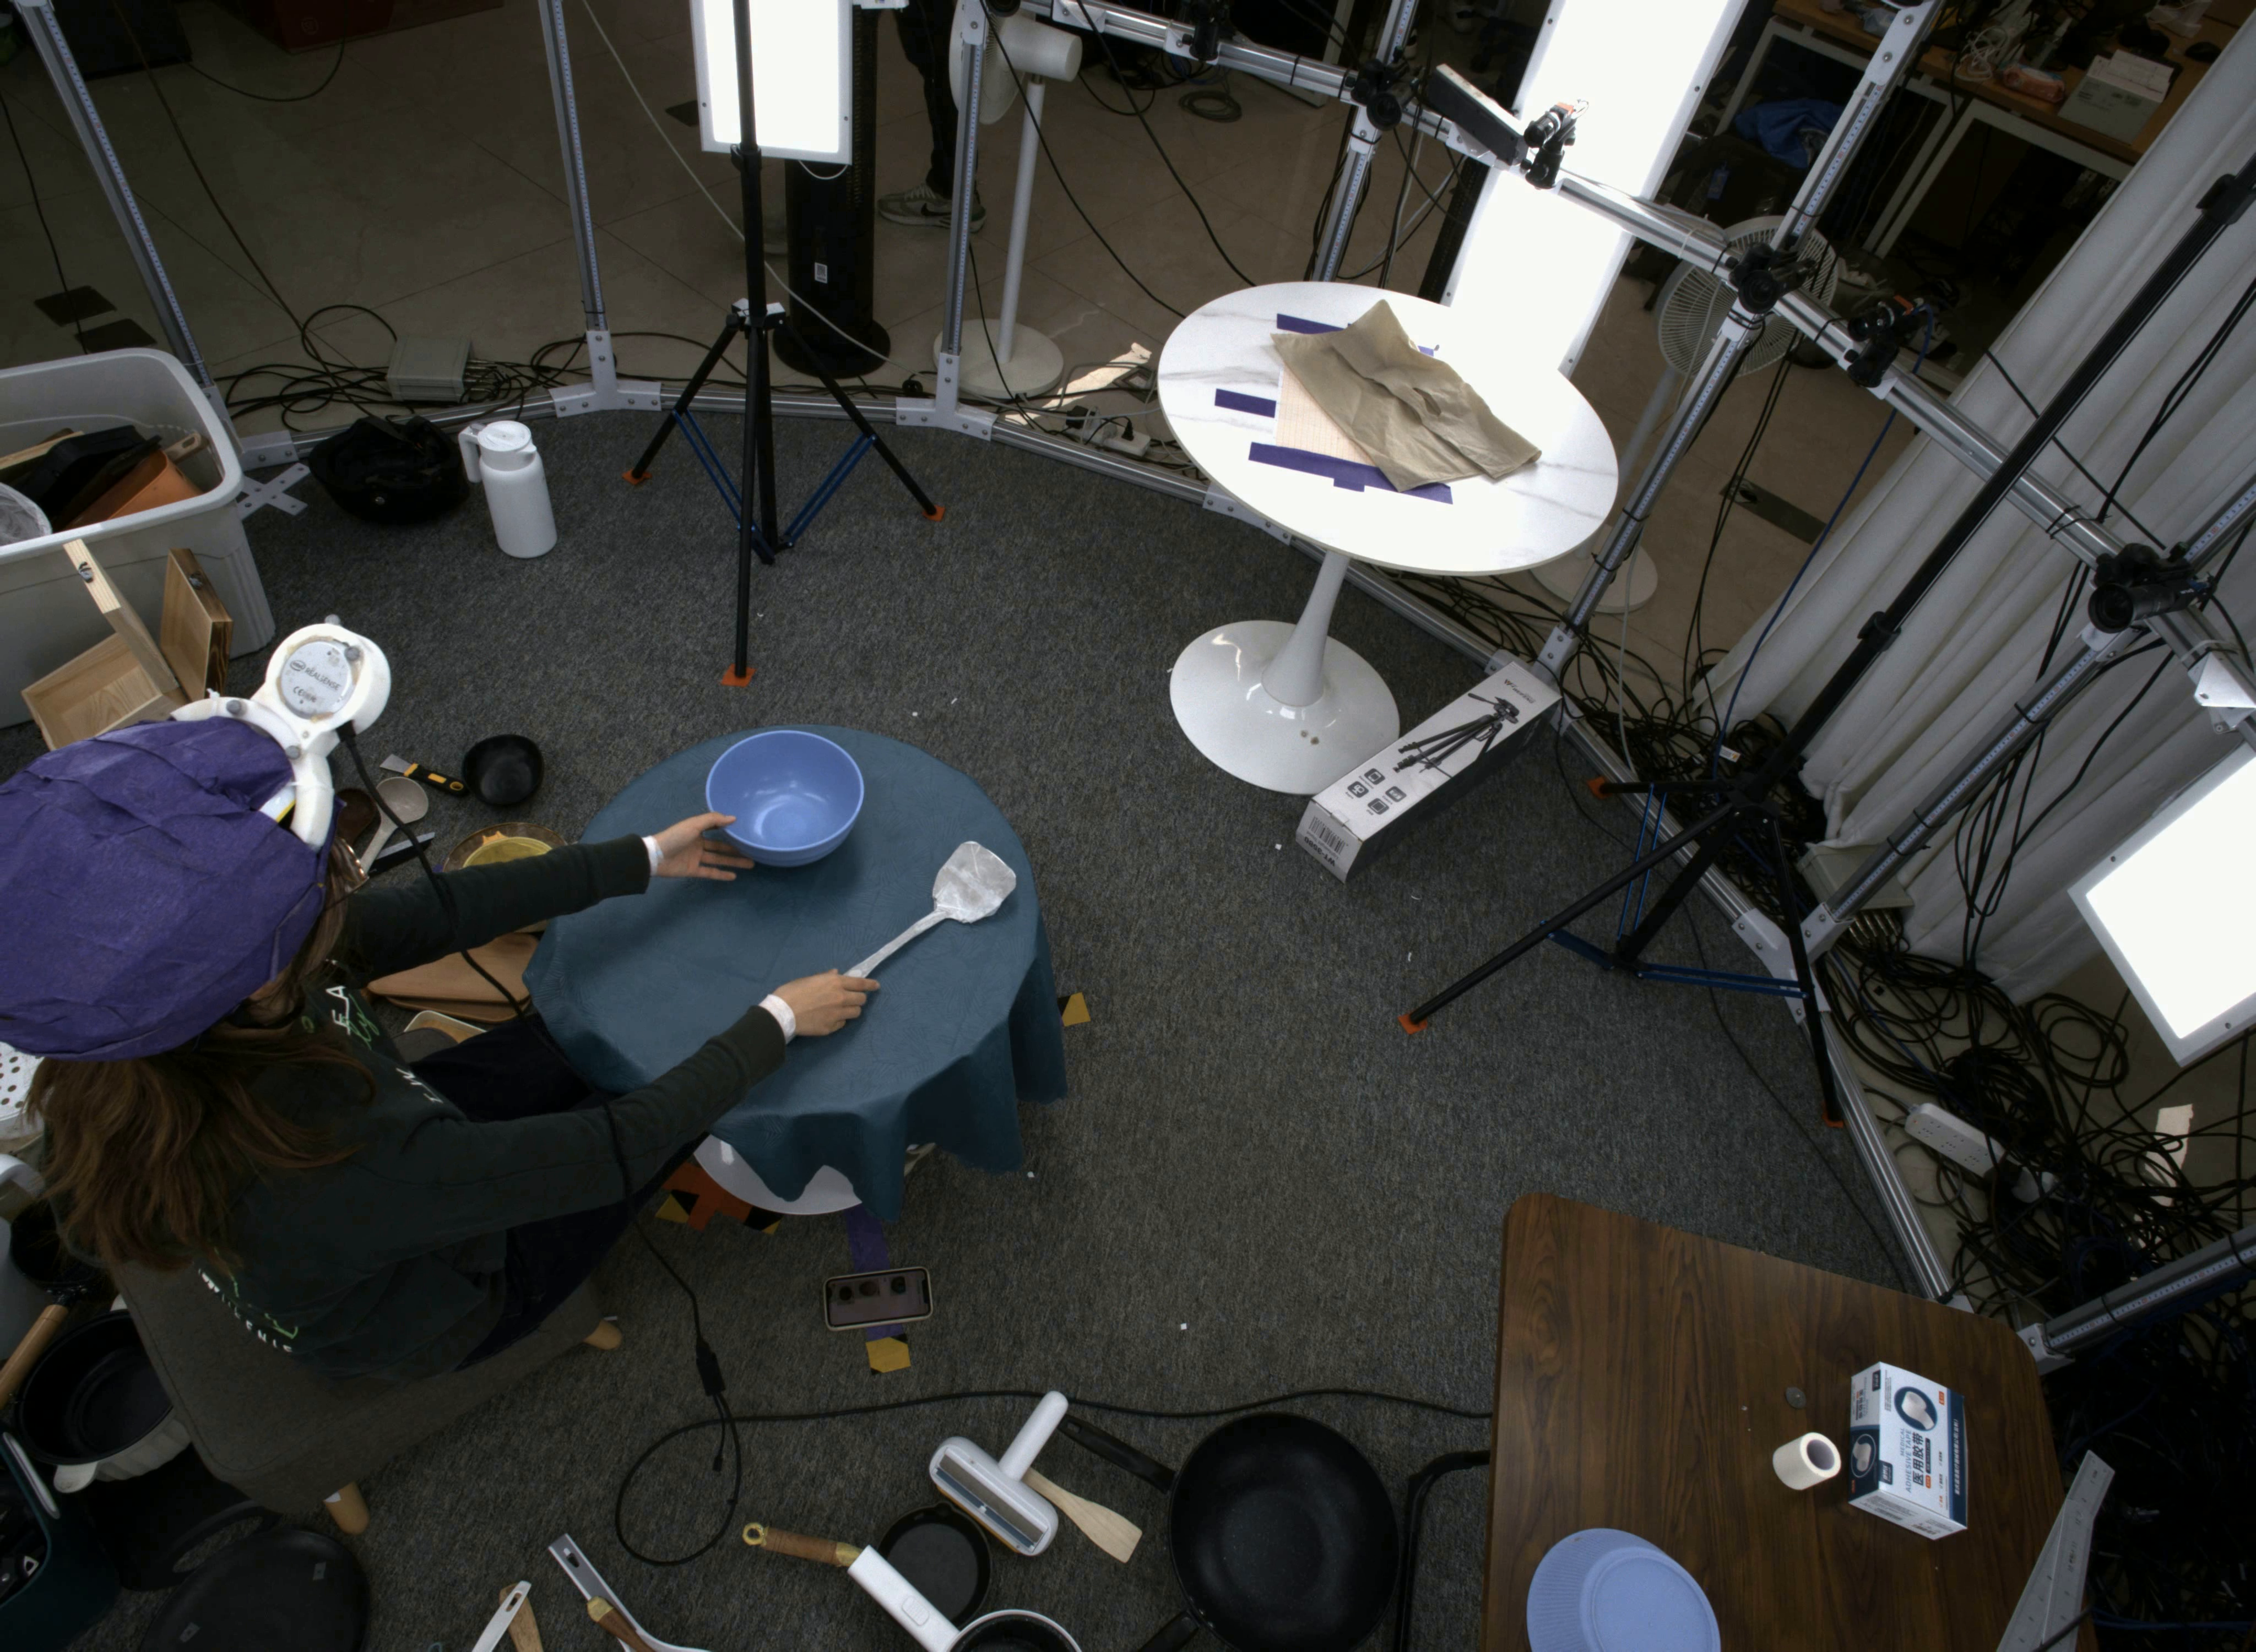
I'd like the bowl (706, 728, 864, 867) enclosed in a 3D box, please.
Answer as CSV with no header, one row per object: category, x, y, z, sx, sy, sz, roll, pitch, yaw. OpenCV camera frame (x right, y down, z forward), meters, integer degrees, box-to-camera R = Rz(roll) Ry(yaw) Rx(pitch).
bowl,-0.443,-0.022,1.679,0.196,0.097,0.193,8,52,-9

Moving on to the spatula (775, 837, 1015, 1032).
spatula,-0.293,0.141,1.633,0.097,0.045,0.365,41,55,15
